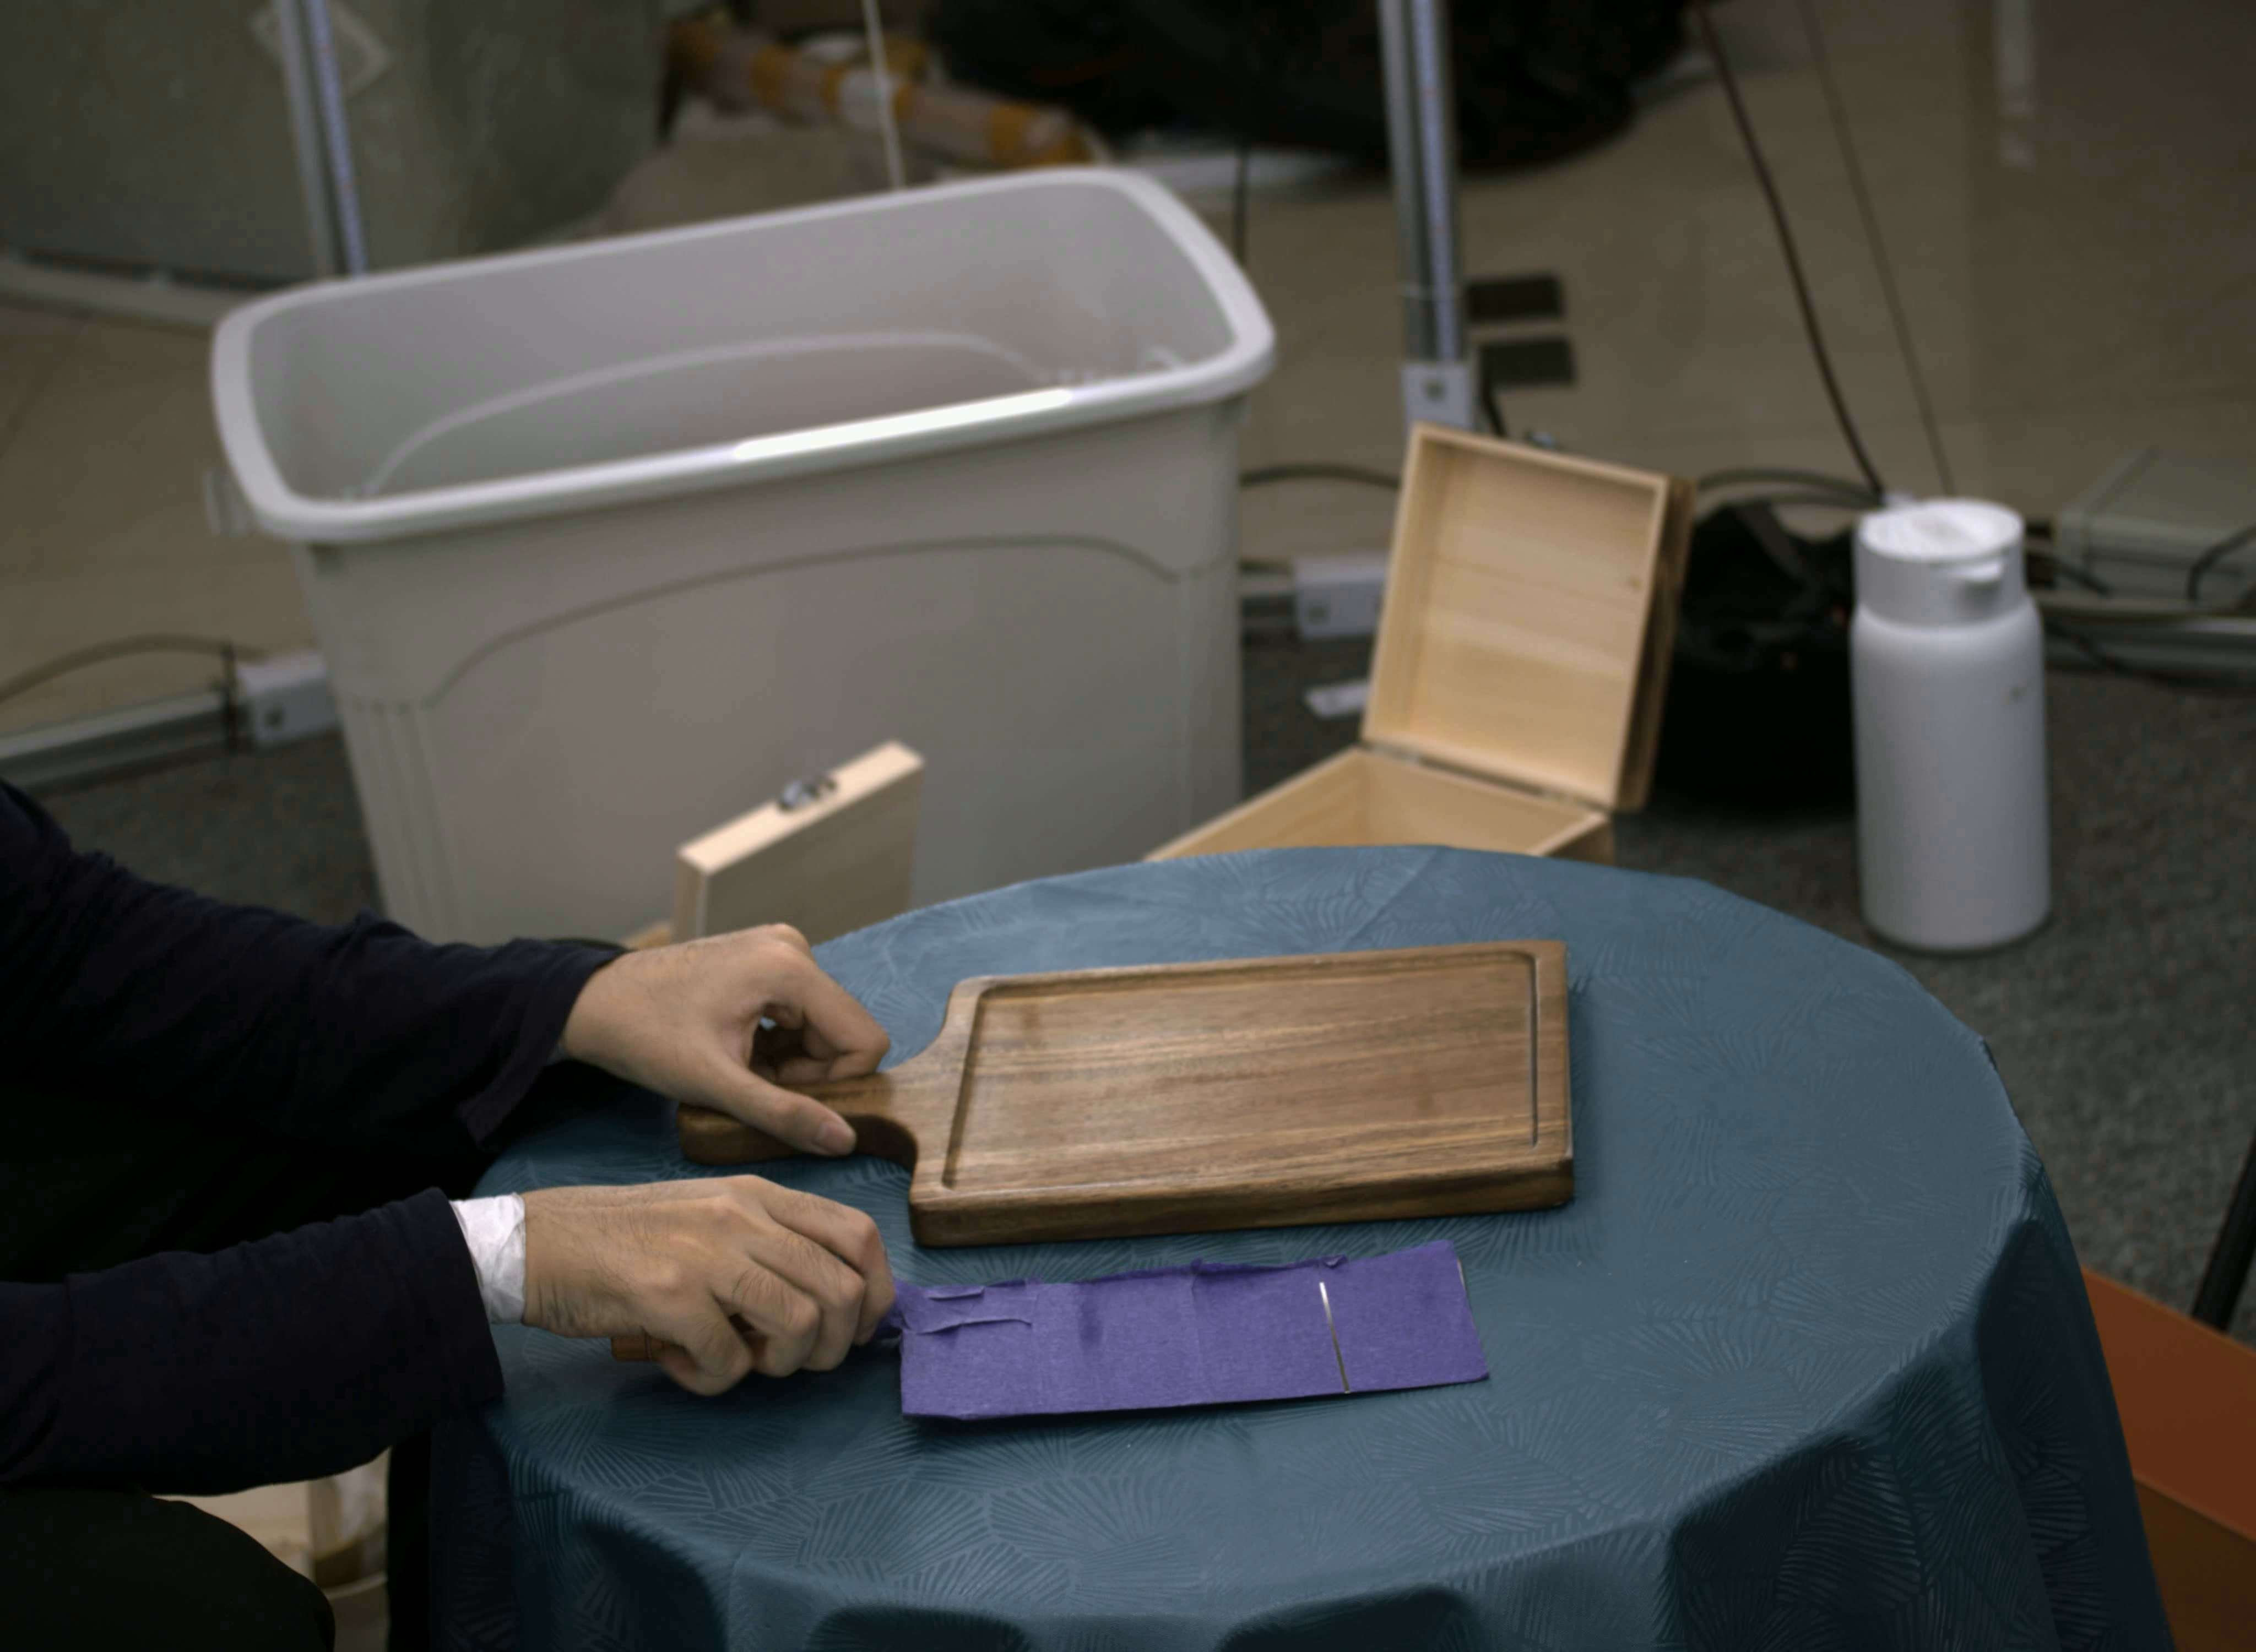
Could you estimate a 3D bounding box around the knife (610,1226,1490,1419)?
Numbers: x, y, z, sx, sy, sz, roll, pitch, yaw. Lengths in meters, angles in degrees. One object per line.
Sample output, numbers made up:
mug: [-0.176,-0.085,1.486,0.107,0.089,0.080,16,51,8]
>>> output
knife: [-0.030,0.180,2.033,0.315,0.033,0.102,-6,25,-1]

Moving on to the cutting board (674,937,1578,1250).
cutting board: [-0.002,0.105,2.202,0.351,0.023,0.198,-4,25,6]
